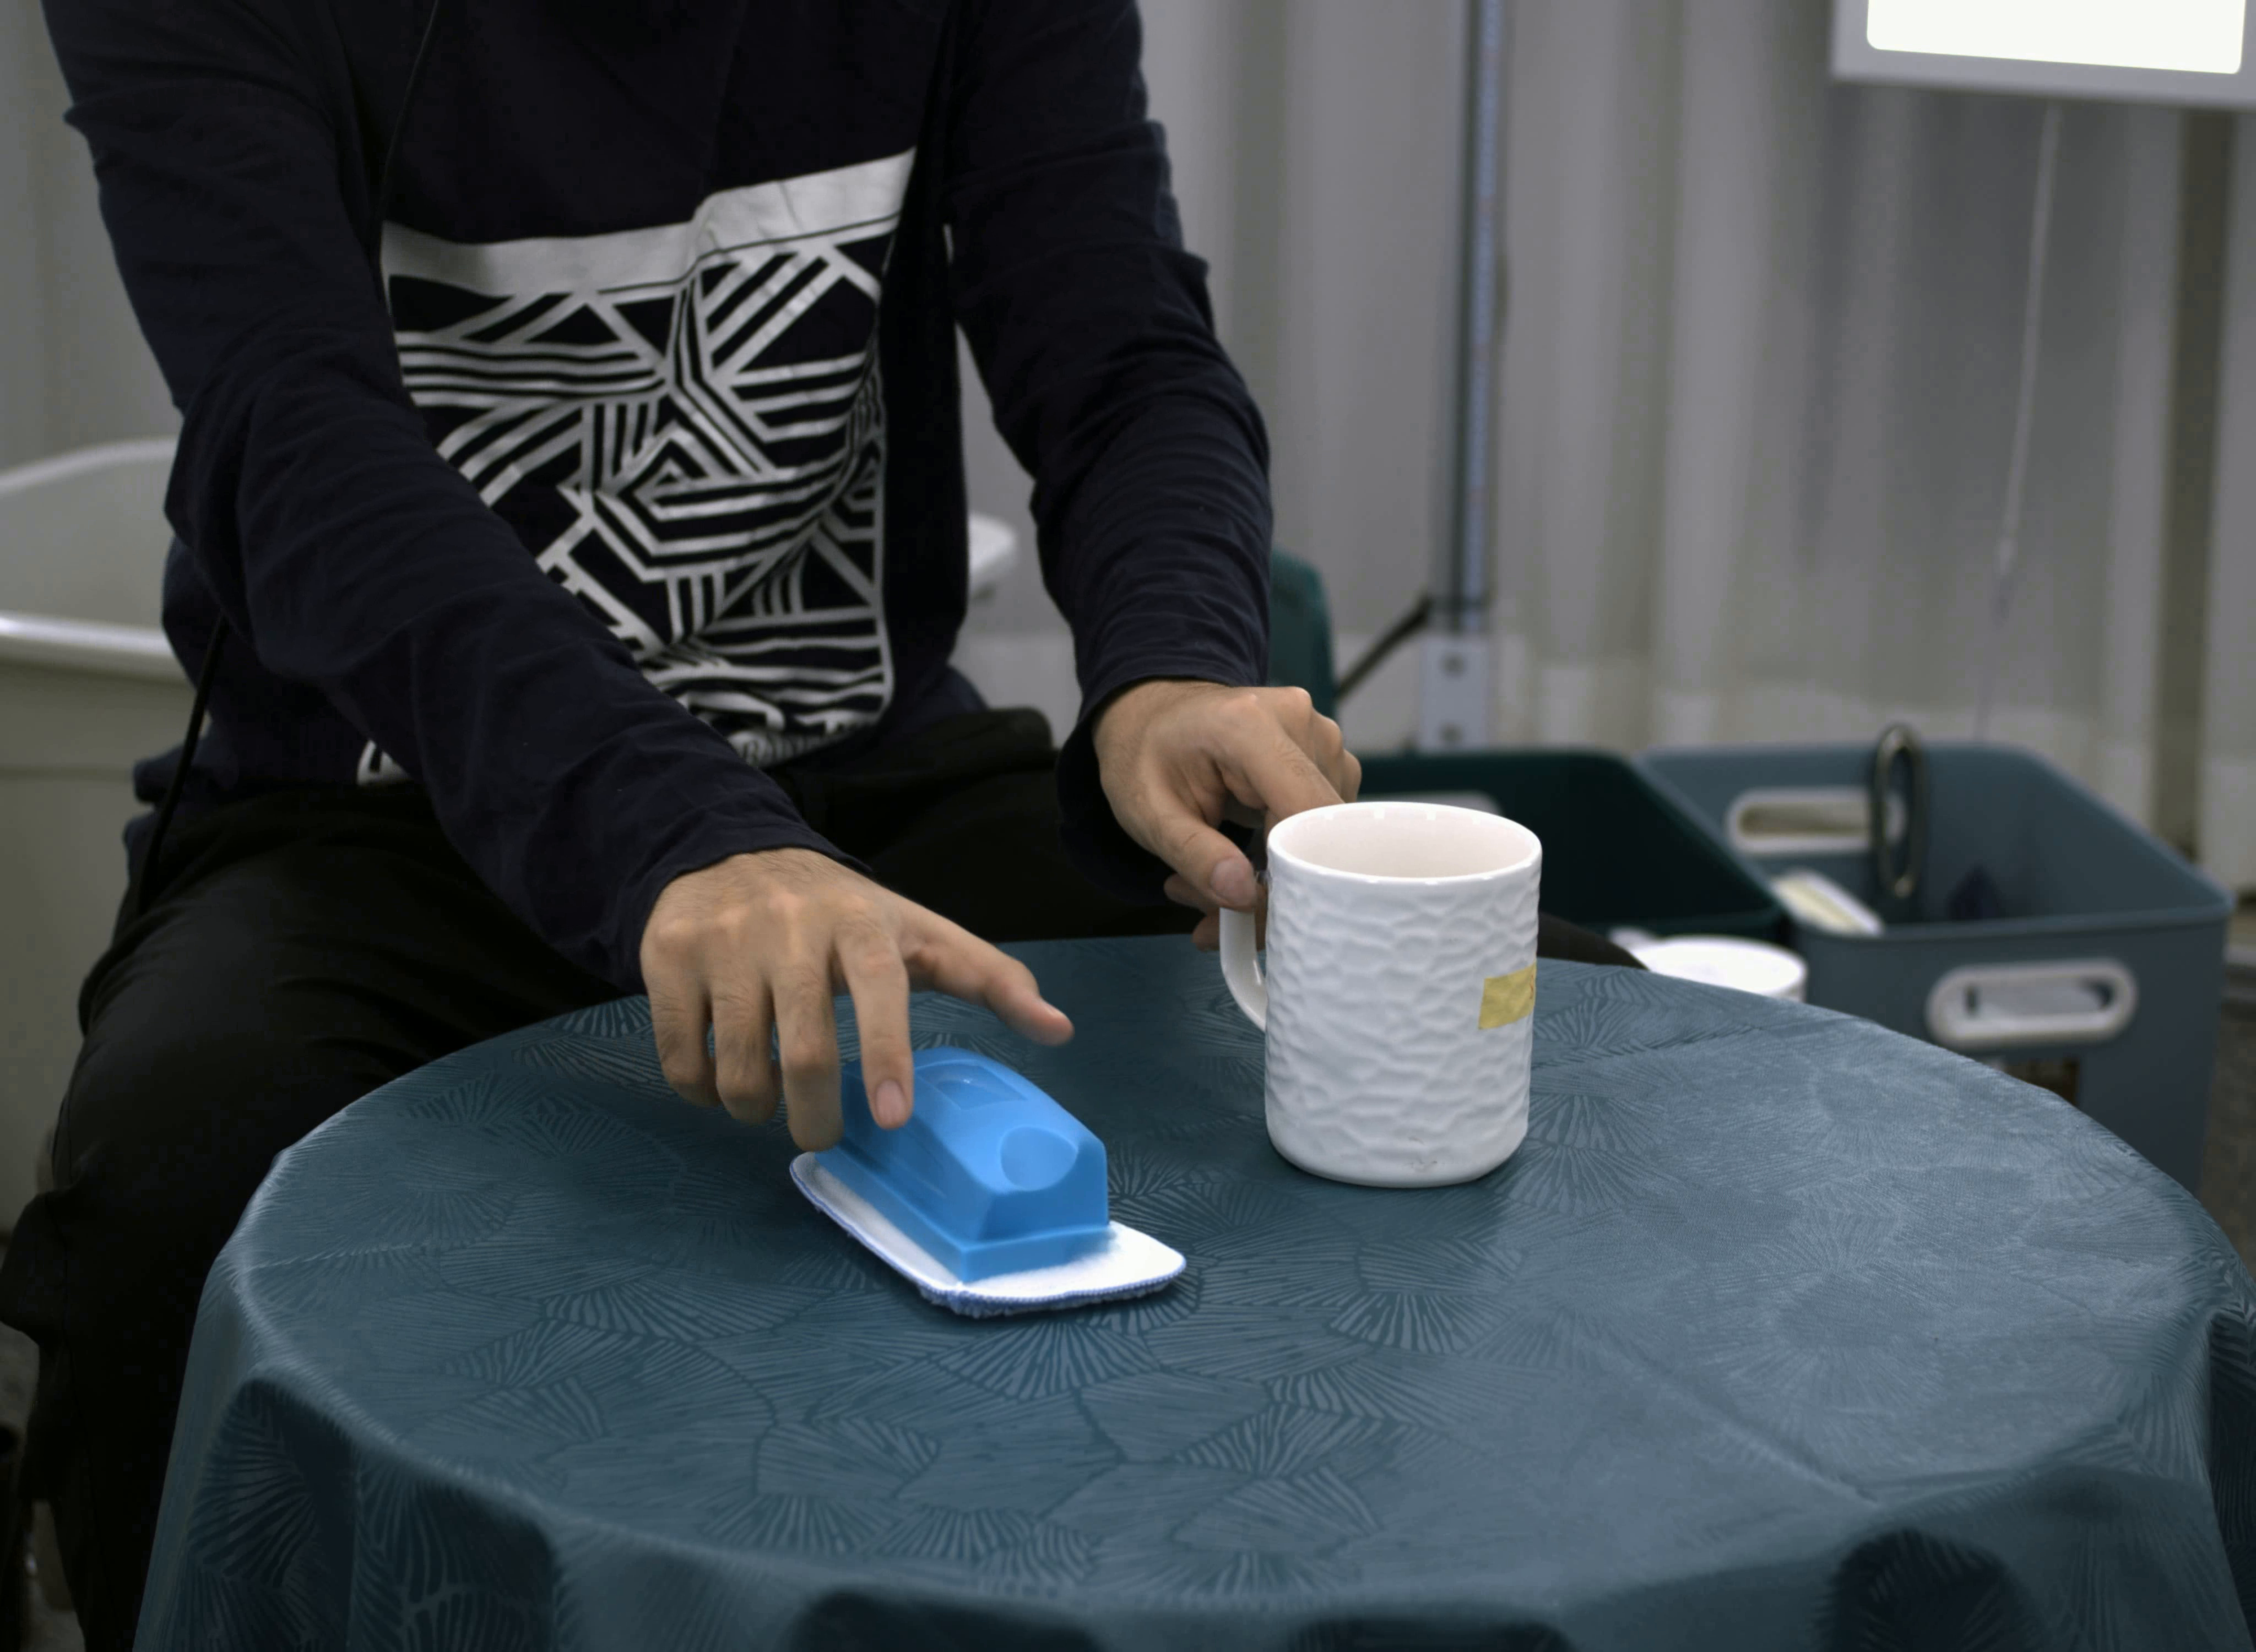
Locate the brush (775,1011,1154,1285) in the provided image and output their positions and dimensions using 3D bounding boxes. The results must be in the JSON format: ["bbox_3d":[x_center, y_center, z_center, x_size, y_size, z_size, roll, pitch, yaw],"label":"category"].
[{"bbox_3d":[-0.048,0.094,1.577,0.084,0.056,0.142,-3,18,-23],"label":"brush"}]

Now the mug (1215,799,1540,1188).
[{"bbox_3d":[0.074,0.049,1.660,0.116,0.103,0.085,16,24,41],"label":"mug"}]
